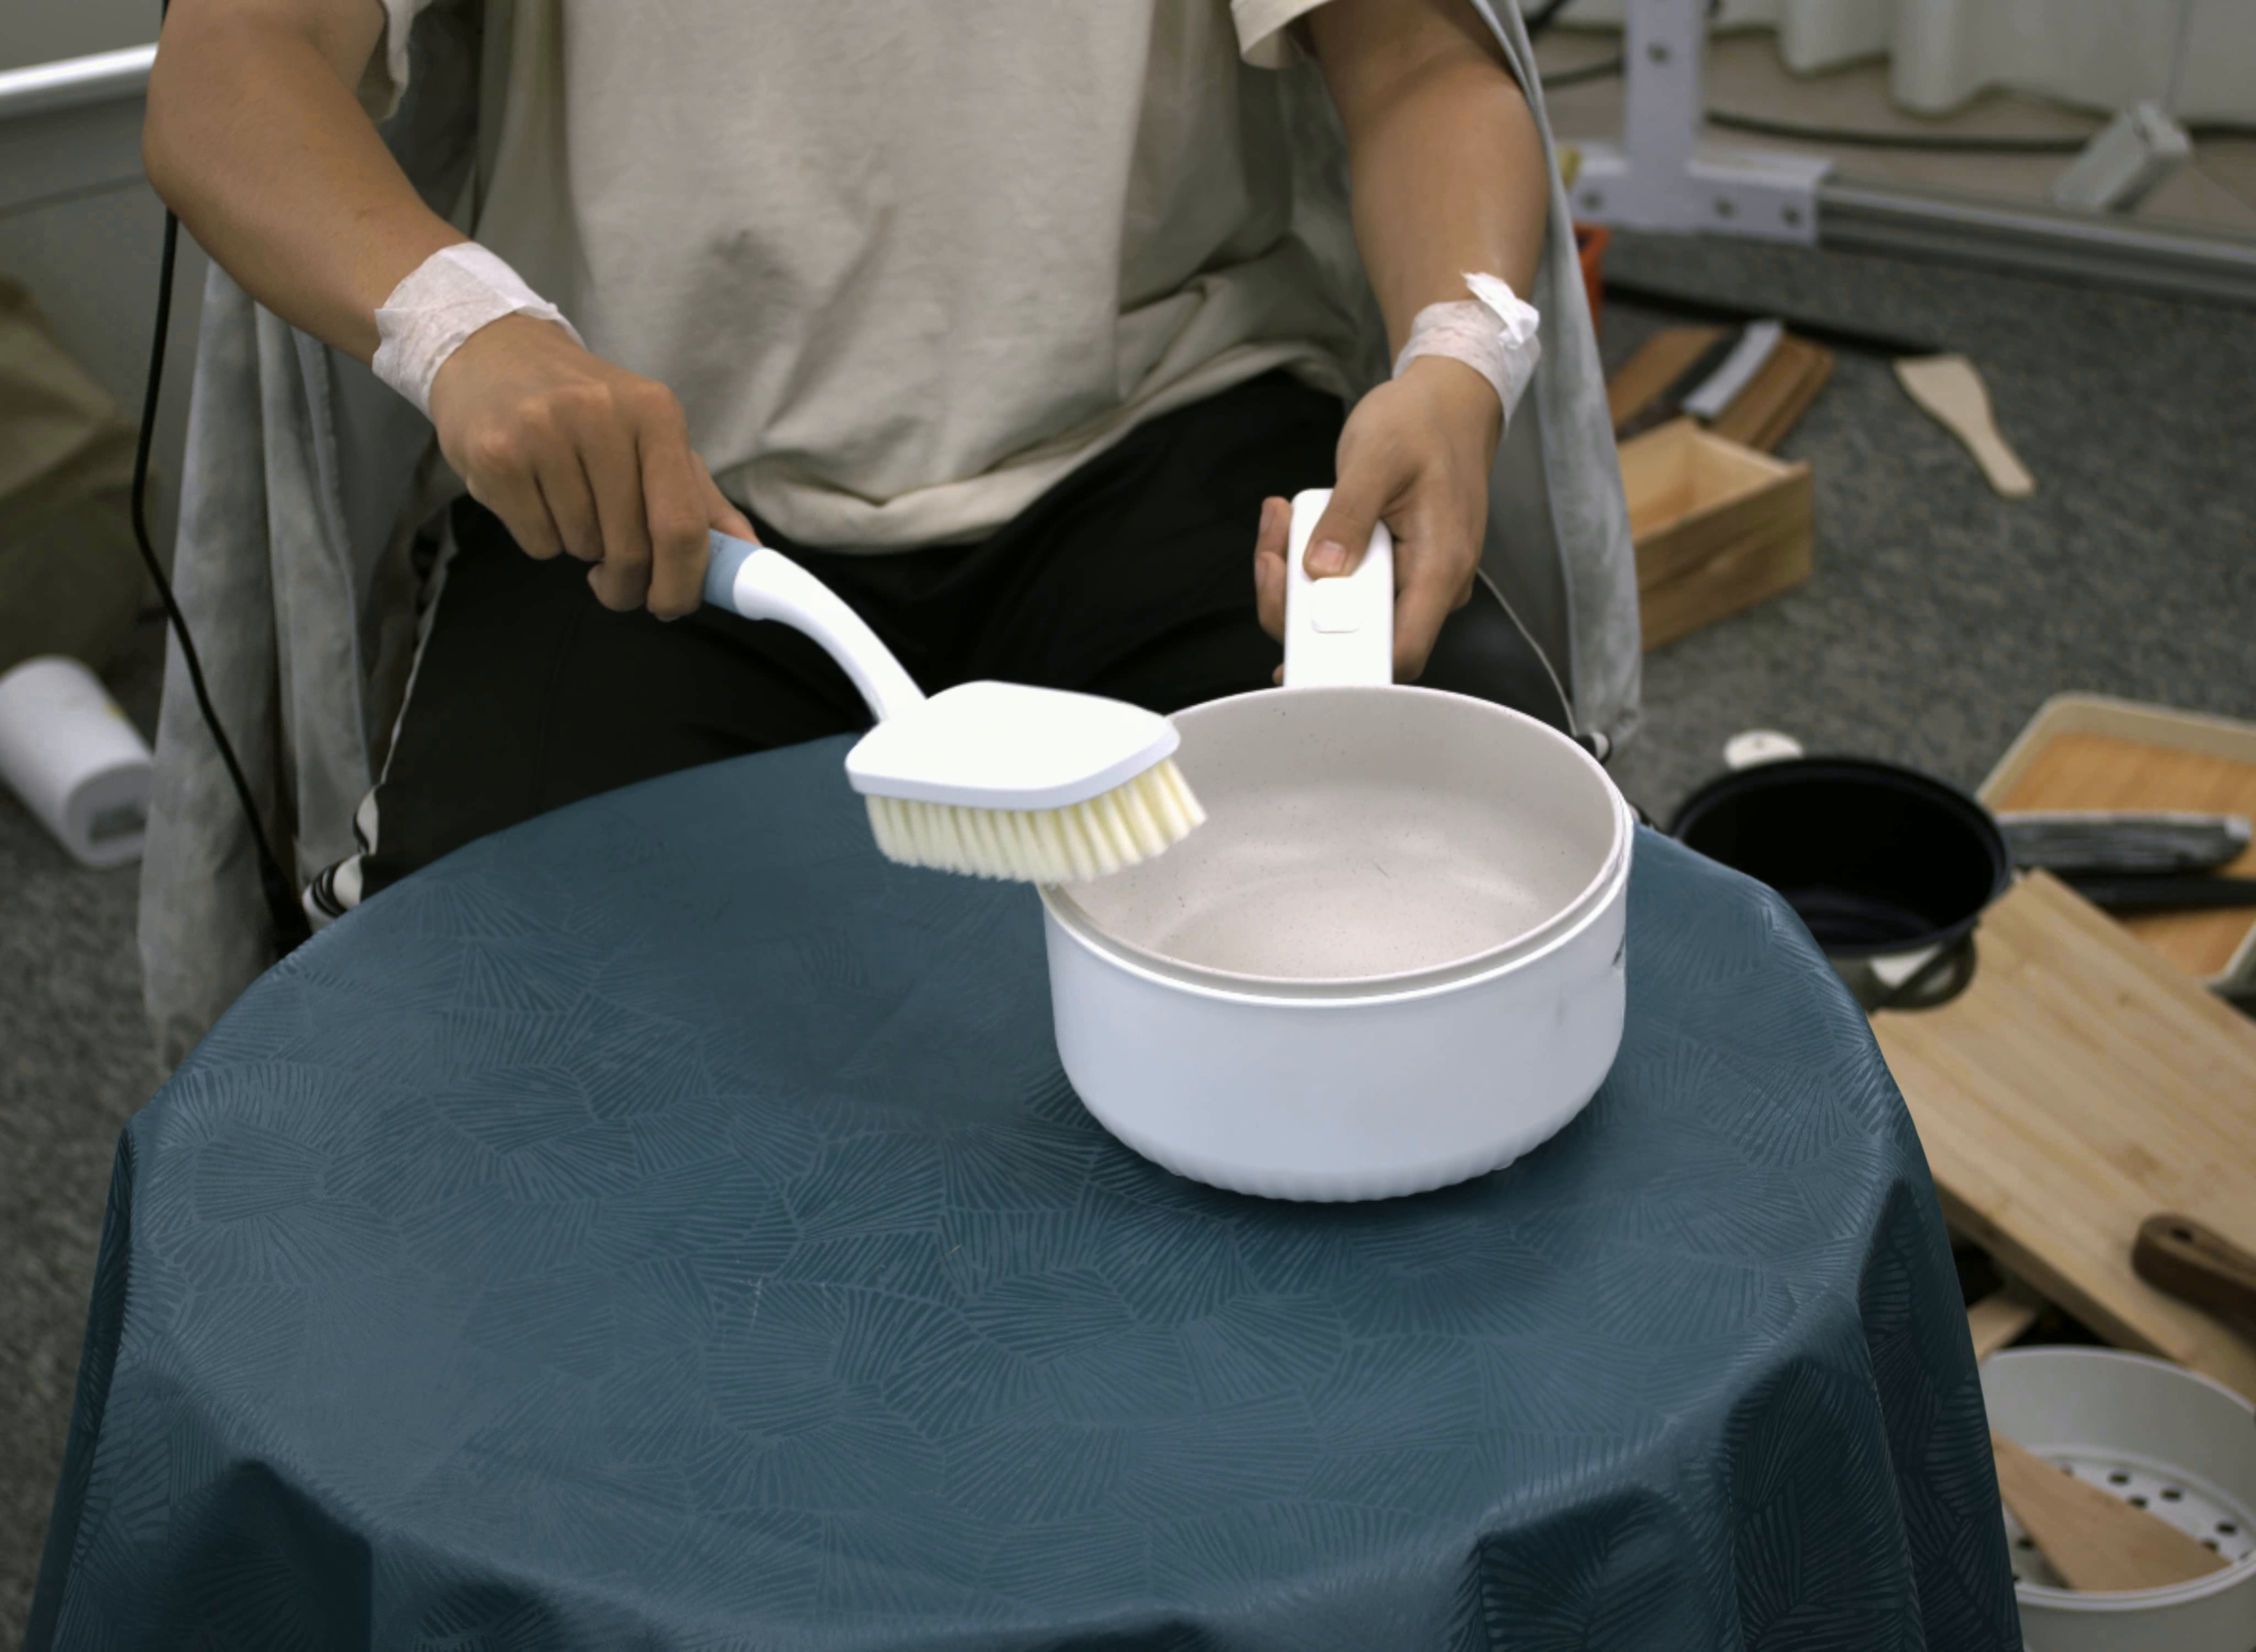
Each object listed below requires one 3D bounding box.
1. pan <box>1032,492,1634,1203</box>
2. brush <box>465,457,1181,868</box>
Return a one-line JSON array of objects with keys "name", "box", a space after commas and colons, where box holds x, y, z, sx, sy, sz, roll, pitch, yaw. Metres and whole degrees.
[{"name": "pan", "box": [0.074, 0.005, 1.959, 0.200, 0.101, 0.361, -1, 29, 4]}, {"name": "brush", "box": [-0.105, -0.045, 1.912, 0.324, 0.085, 0.083, 20, 2, 38]}]
